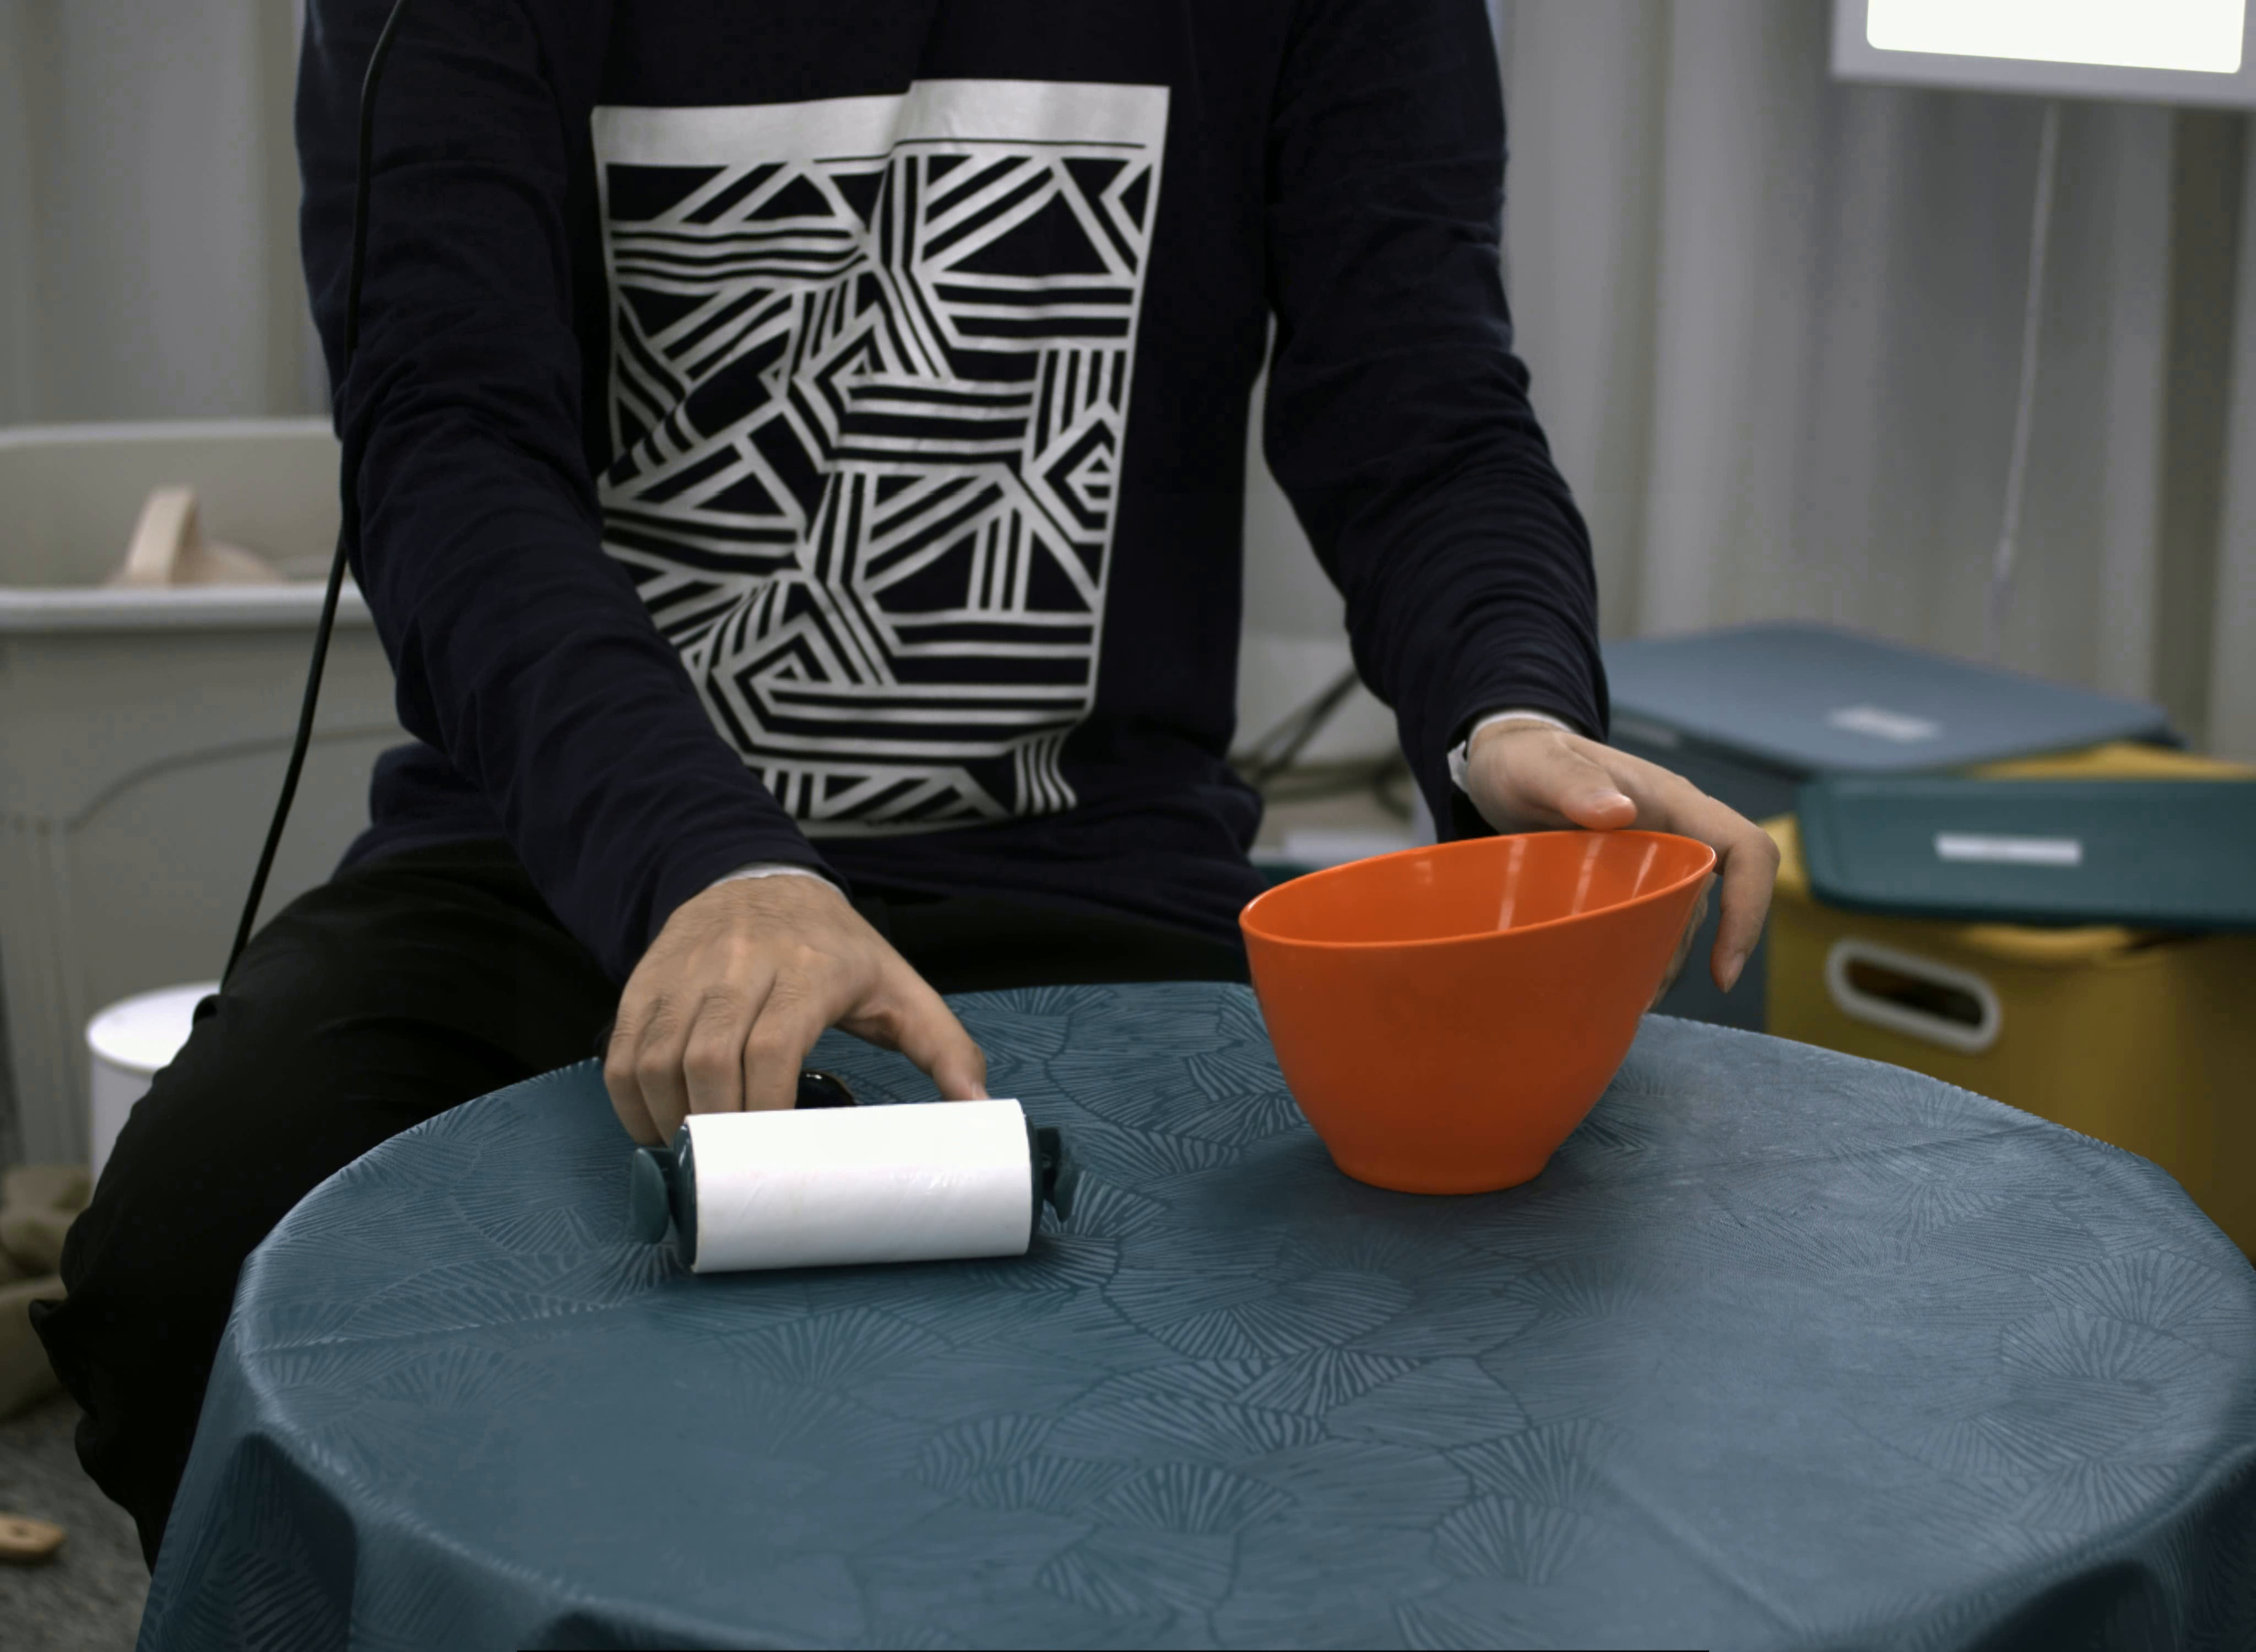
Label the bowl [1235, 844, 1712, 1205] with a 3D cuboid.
[{"bbox_3d":[0.106,0.060,1.634,0.147,0.105,0.147,0,13,1],"label":"bowl"}]

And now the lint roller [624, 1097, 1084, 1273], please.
[{"bbox_3d":[-0.094,0.093,1.619,0.134,0.048,0.178,-2,12,-11],"label":"lint roller"}]
